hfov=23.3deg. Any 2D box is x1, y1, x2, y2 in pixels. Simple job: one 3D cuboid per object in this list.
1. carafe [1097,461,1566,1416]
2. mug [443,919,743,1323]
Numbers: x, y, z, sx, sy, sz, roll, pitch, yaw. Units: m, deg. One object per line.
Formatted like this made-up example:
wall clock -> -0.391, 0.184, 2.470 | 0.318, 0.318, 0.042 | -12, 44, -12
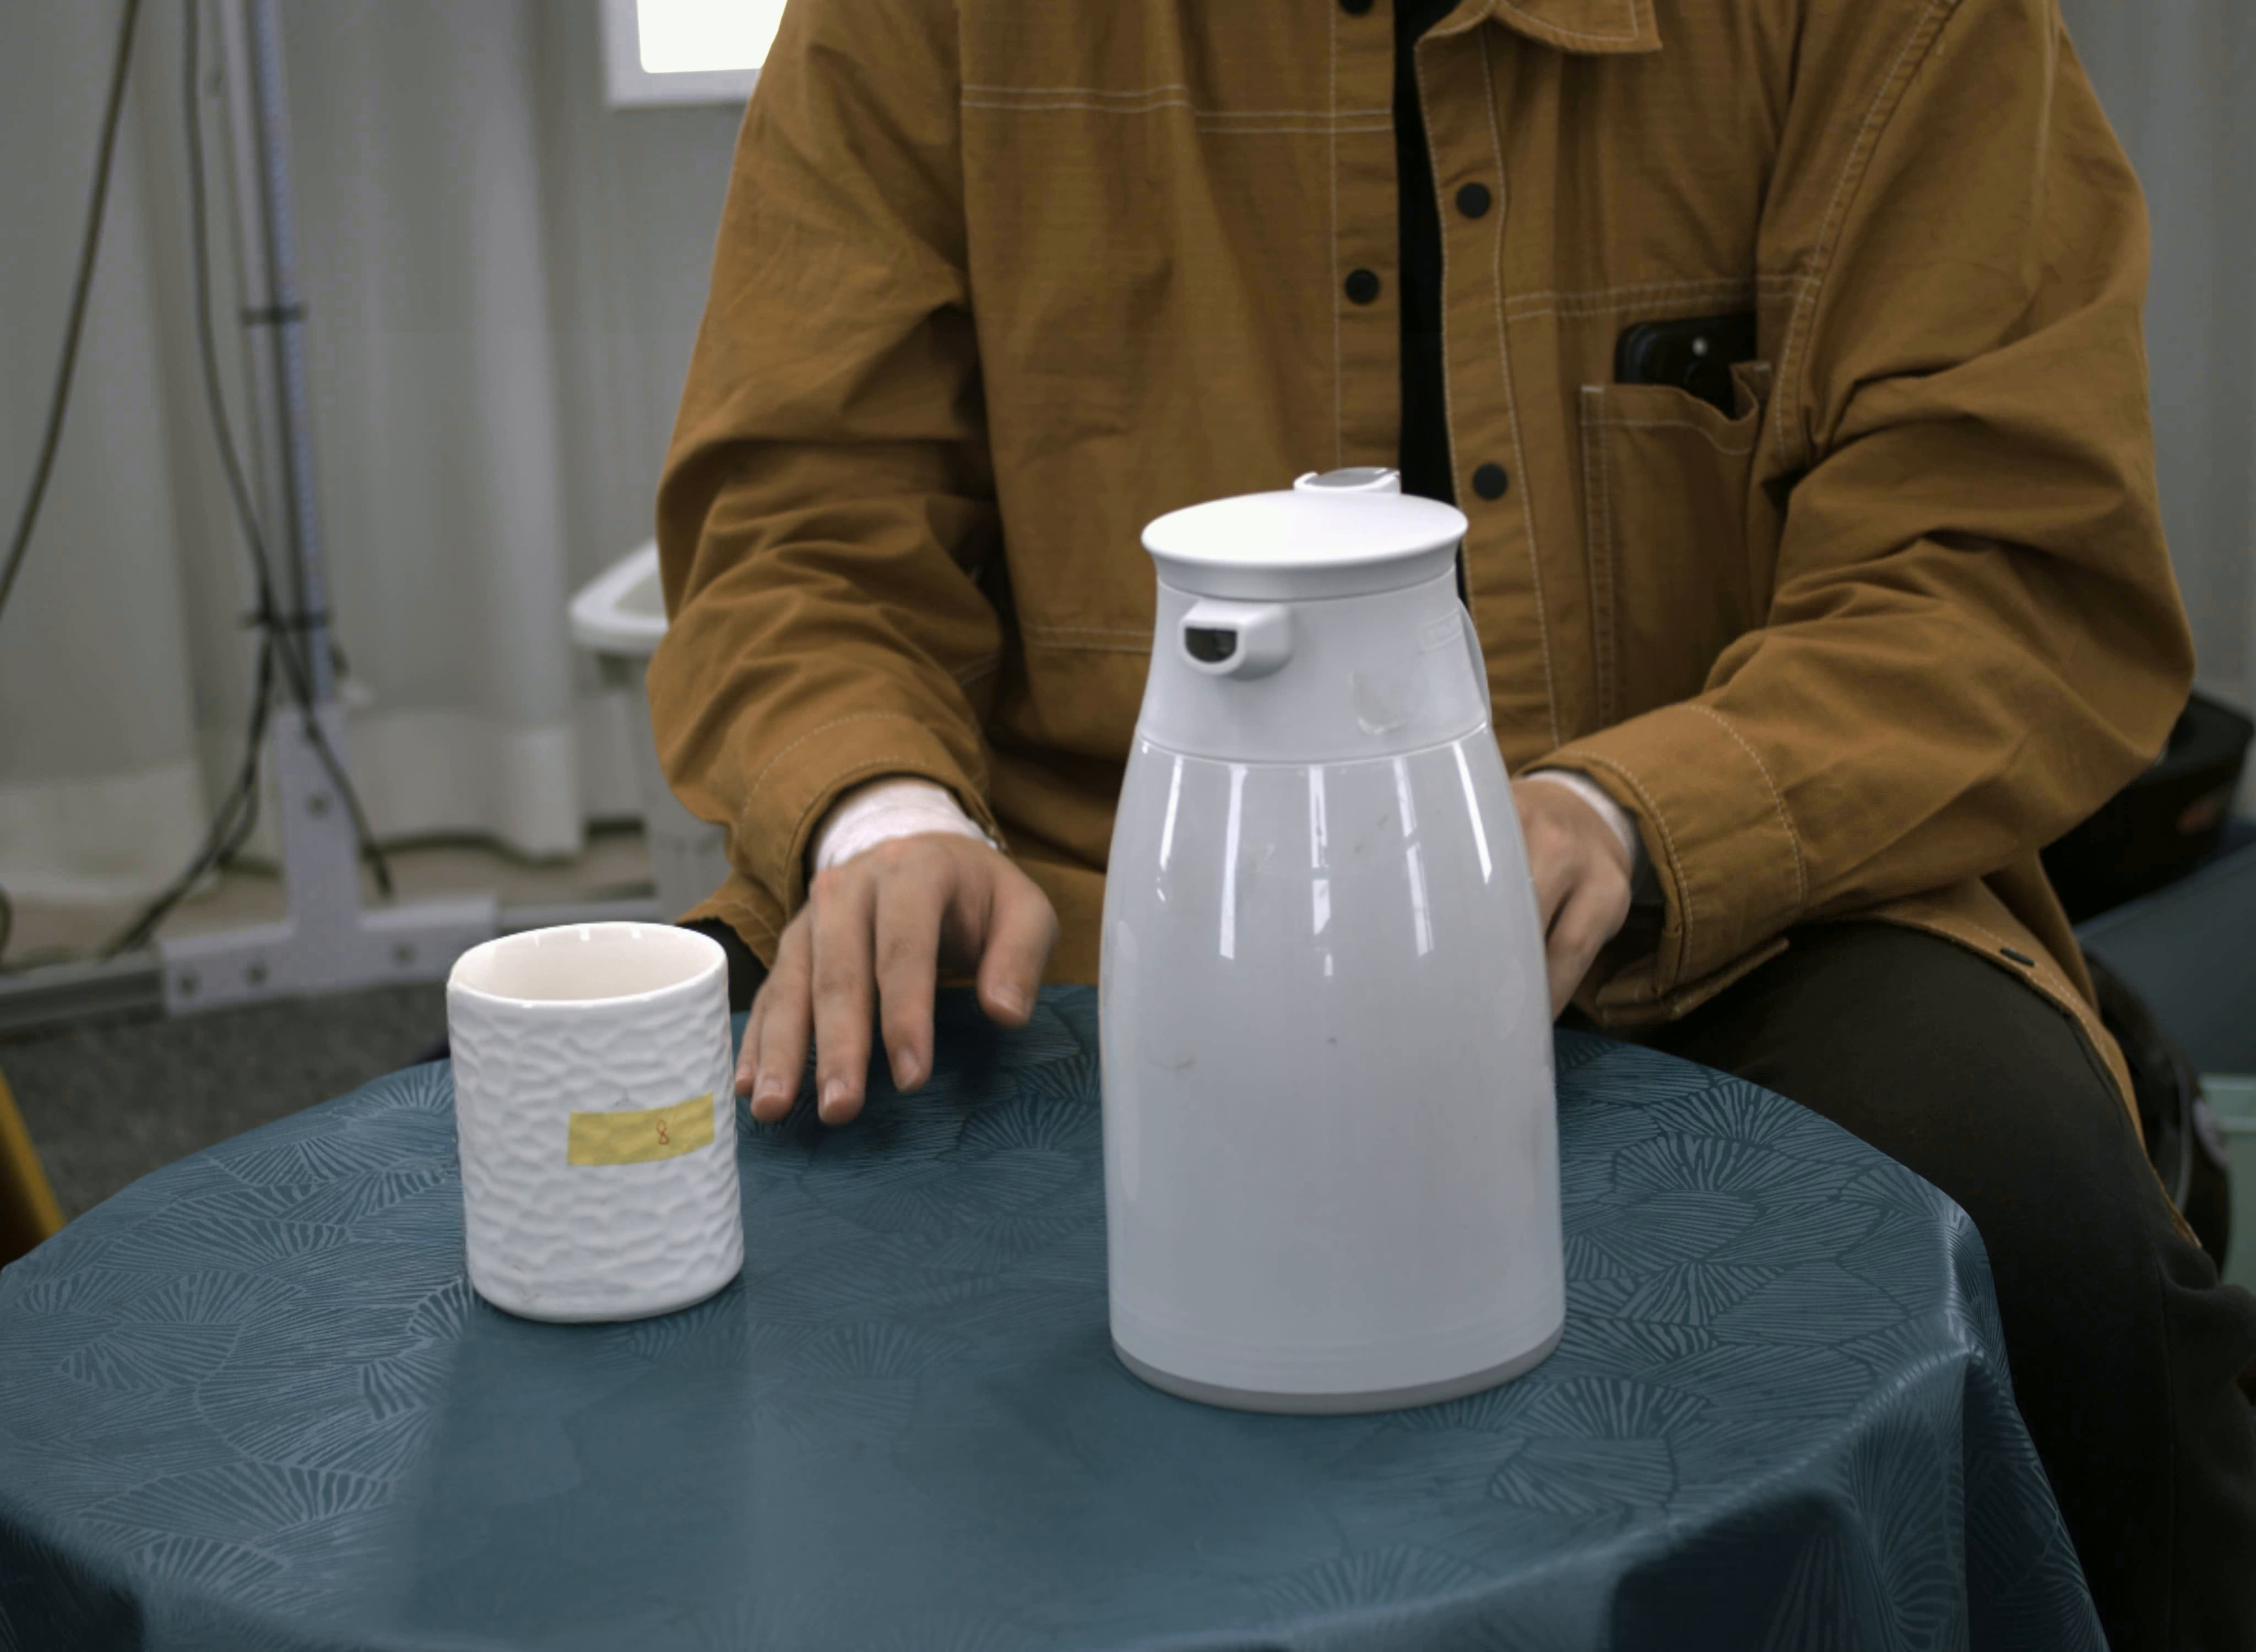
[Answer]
carafe -> 0.061, 0.023, 1.568 | 0.132, 0.248, 0.168 | 3, 14, 25
mug -> -0.162, 0.085, 1.659 | 0.084, 0.101, 0.119 | -4, 14, -6
